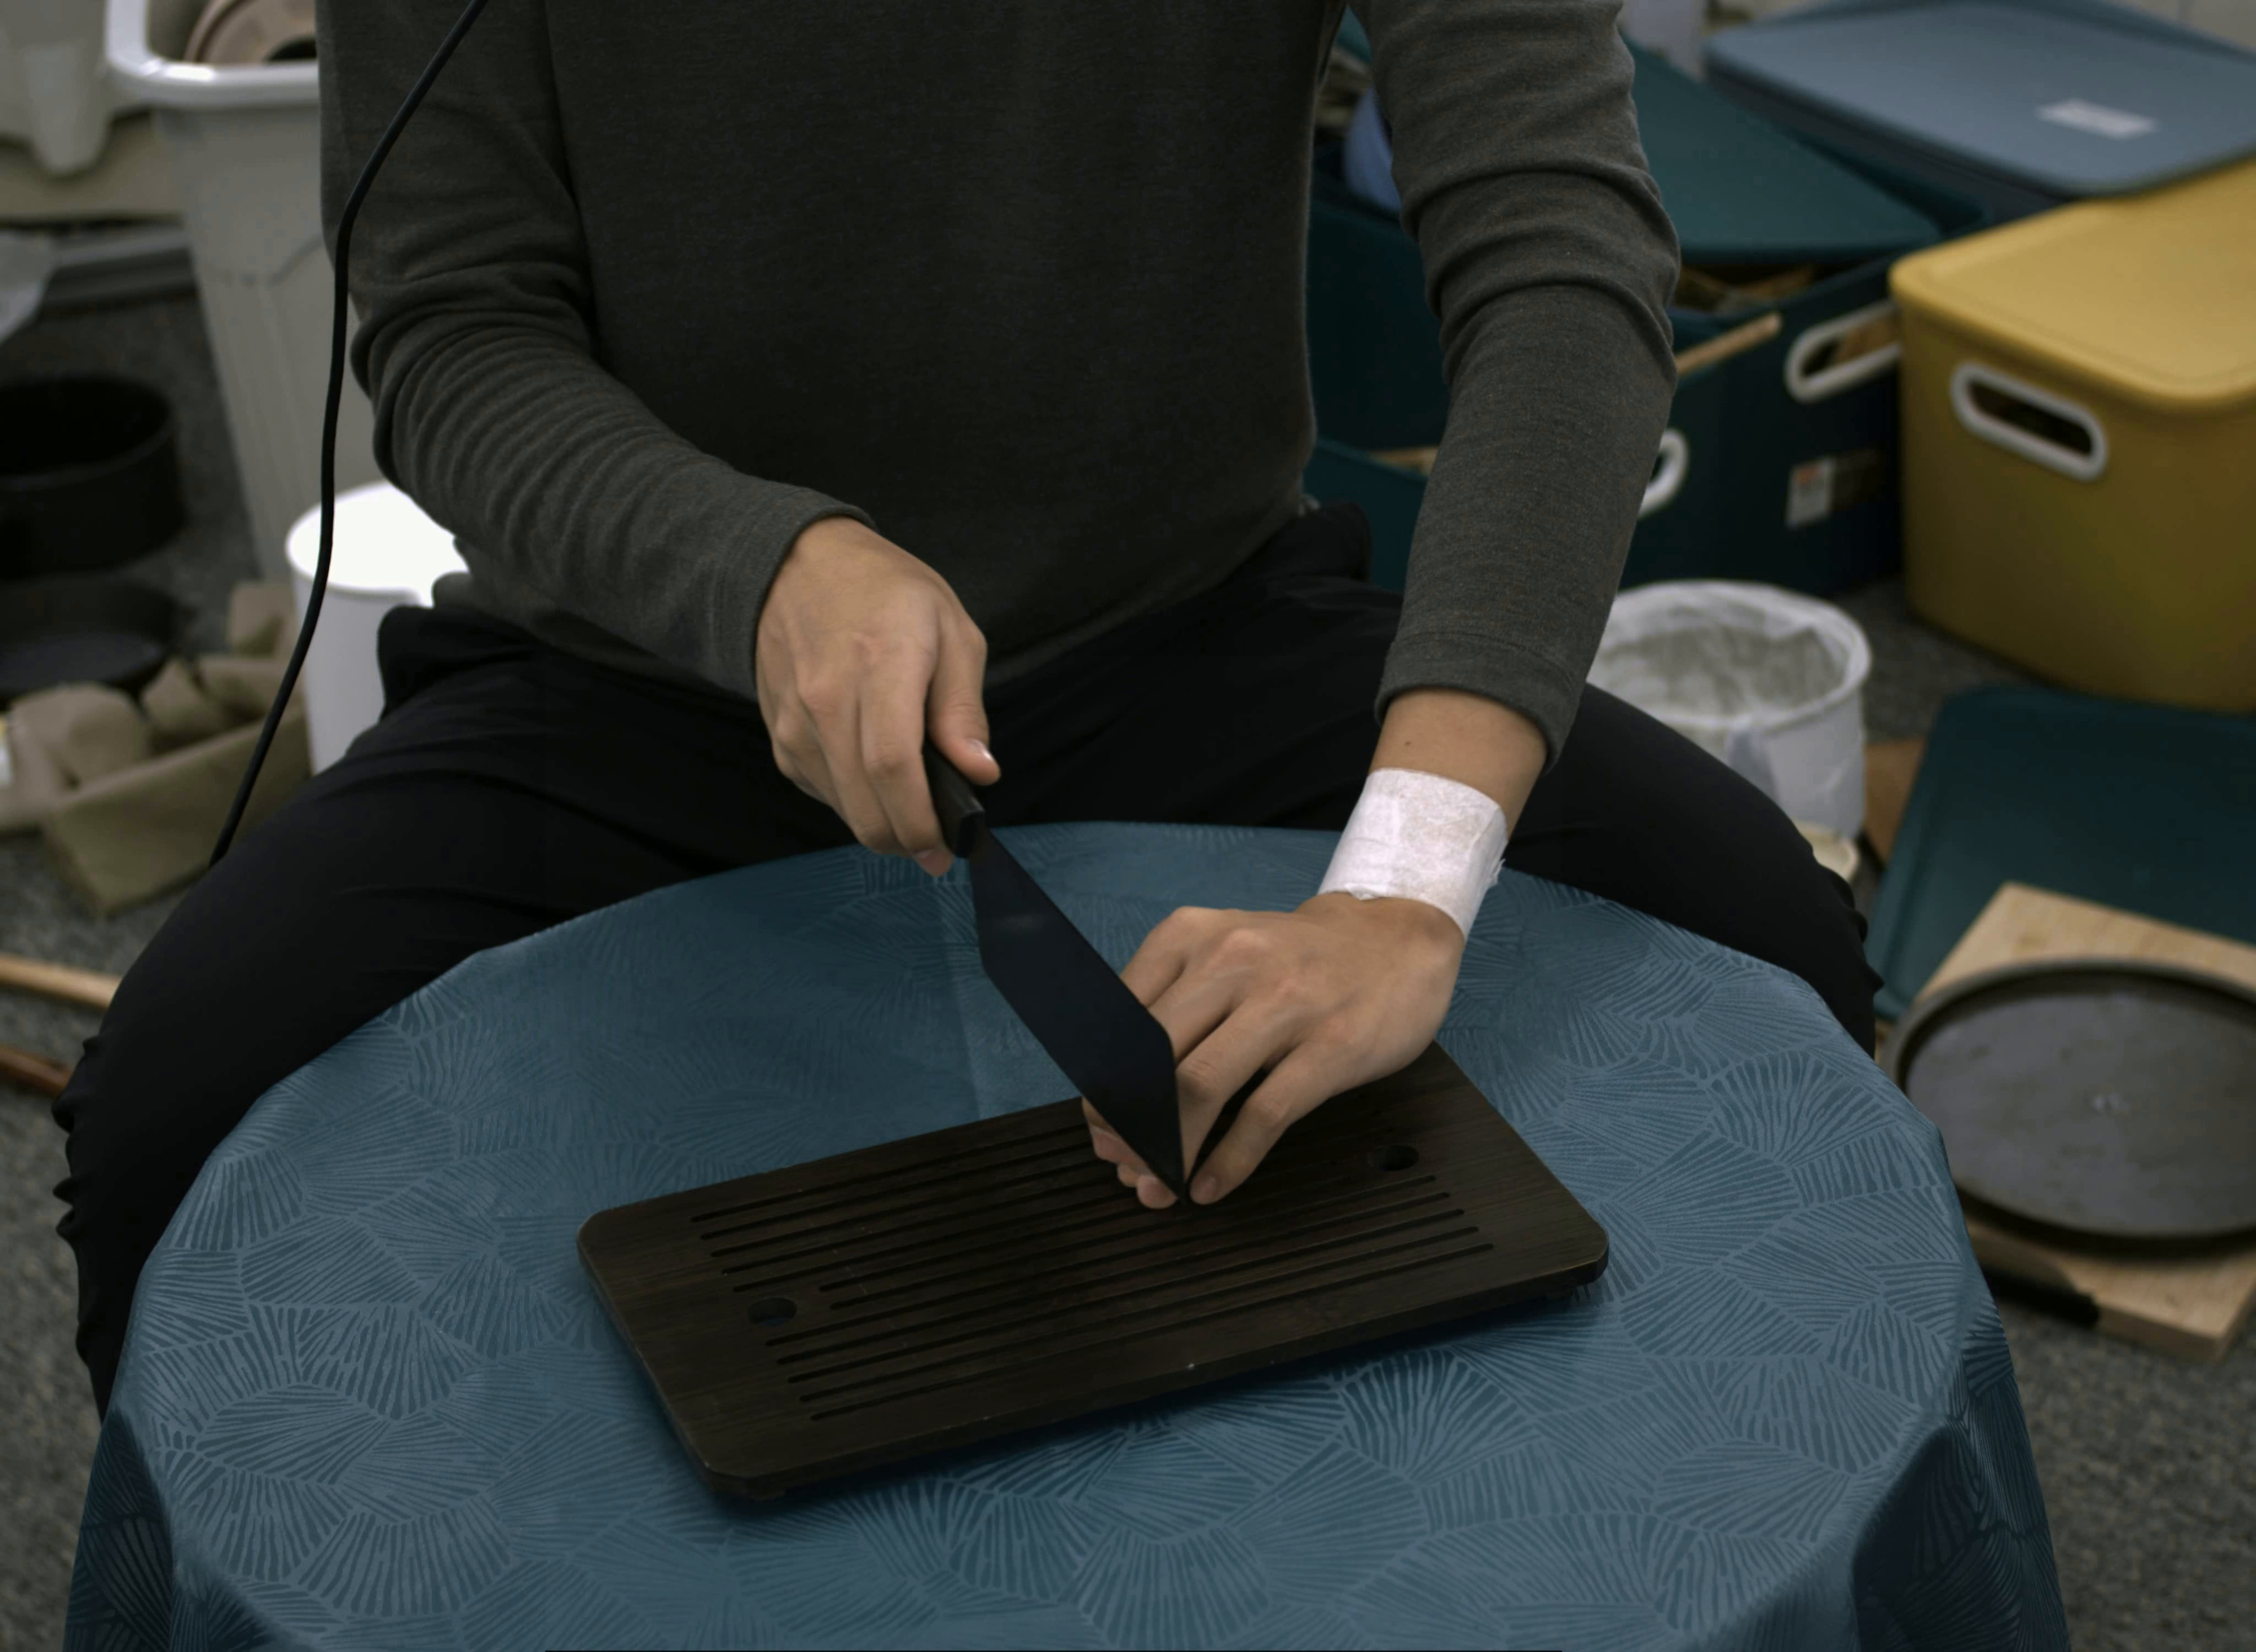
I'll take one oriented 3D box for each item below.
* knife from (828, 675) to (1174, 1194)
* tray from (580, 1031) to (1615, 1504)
[{"bbox_3d":[-0.042,0.027,1.846,0.021,0.080,0.305,-13,32,-17],"label":"knife"},{"bbox_3d":[-0.011,0.140,1.806,0.306,0.018,0.171,-12,28,-18],"label":"tray"}]
